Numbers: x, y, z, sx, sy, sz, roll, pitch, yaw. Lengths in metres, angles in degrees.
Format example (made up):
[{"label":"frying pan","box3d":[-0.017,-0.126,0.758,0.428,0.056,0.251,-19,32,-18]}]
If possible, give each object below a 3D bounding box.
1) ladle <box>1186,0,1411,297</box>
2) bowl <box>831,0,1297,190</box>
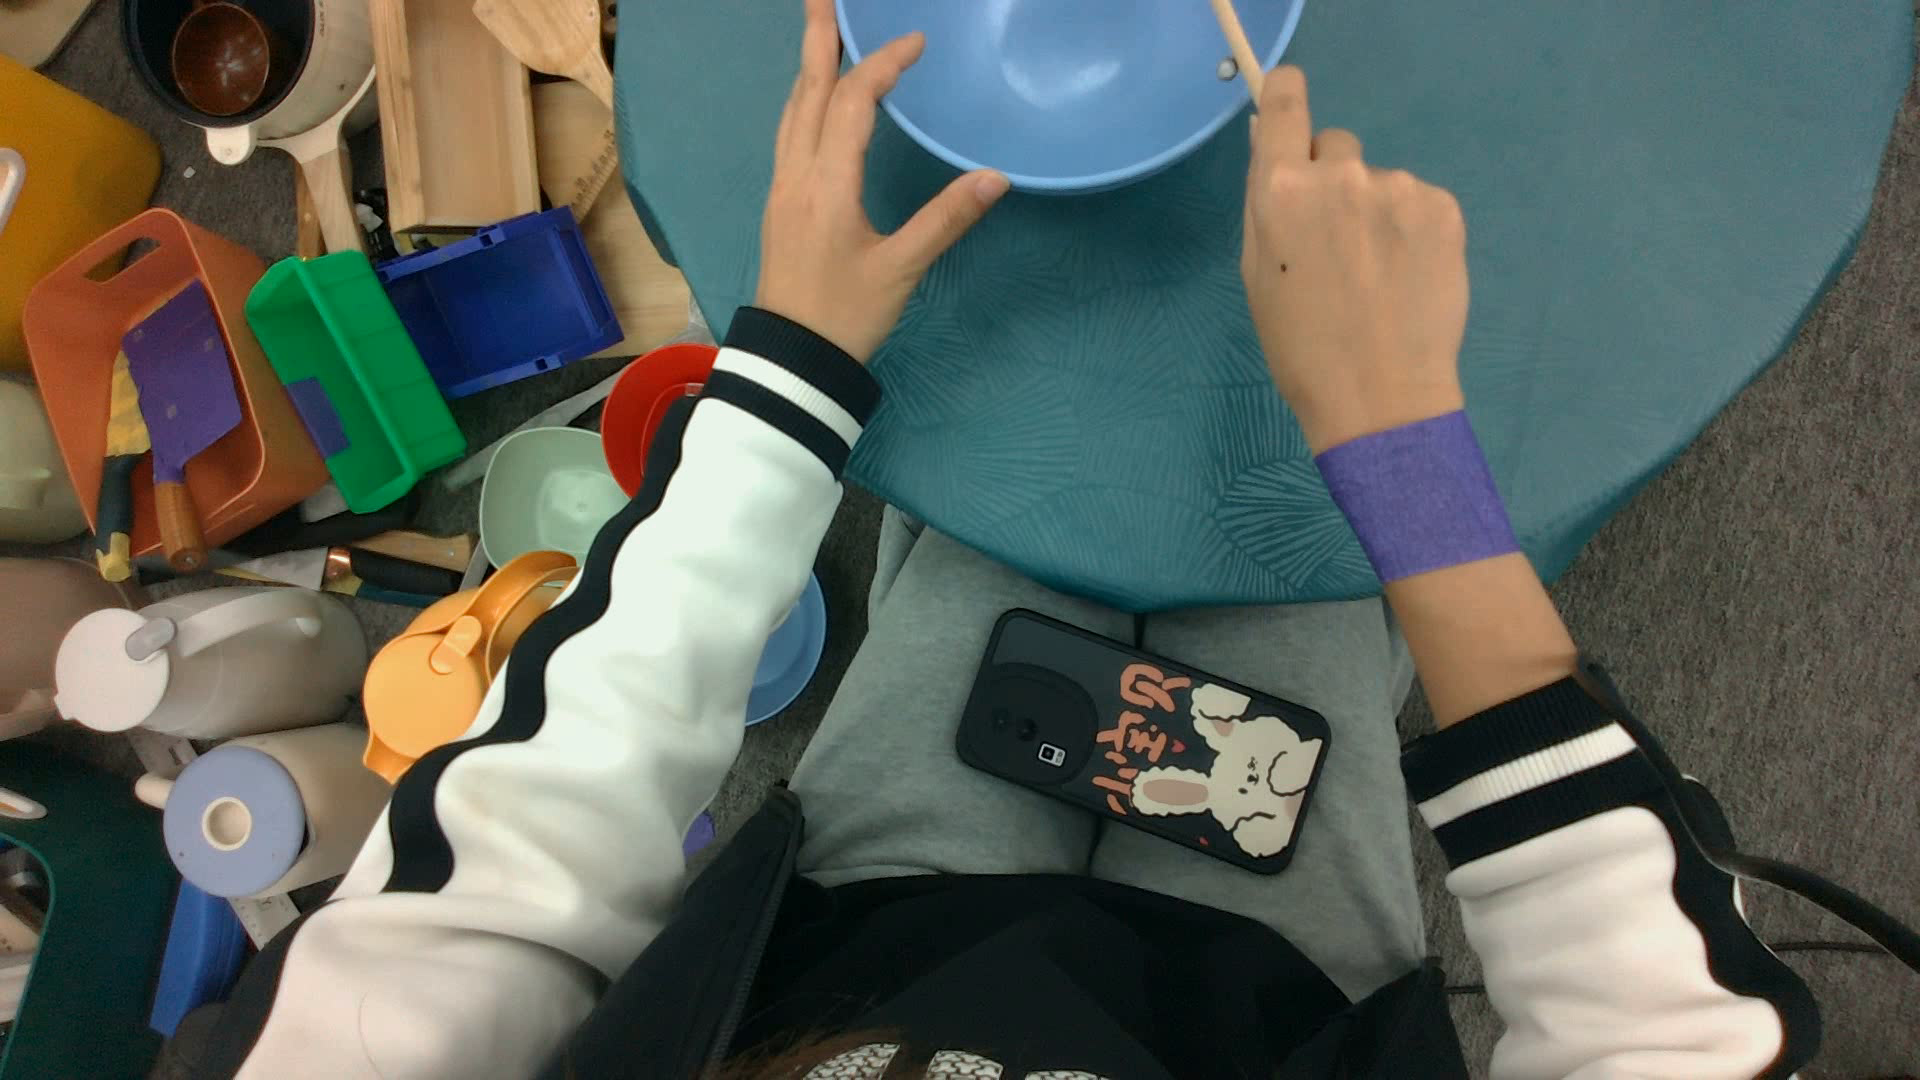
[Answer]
[{"label":"ladle","box3d":[0.080,-0.184,0.531,0.073,0.072,0.255,-18,66,-12]},{"label":"bowl","box3d":[0.046,-0.242,0.610,0.196,0.095,0.196,0,88,5]}]
